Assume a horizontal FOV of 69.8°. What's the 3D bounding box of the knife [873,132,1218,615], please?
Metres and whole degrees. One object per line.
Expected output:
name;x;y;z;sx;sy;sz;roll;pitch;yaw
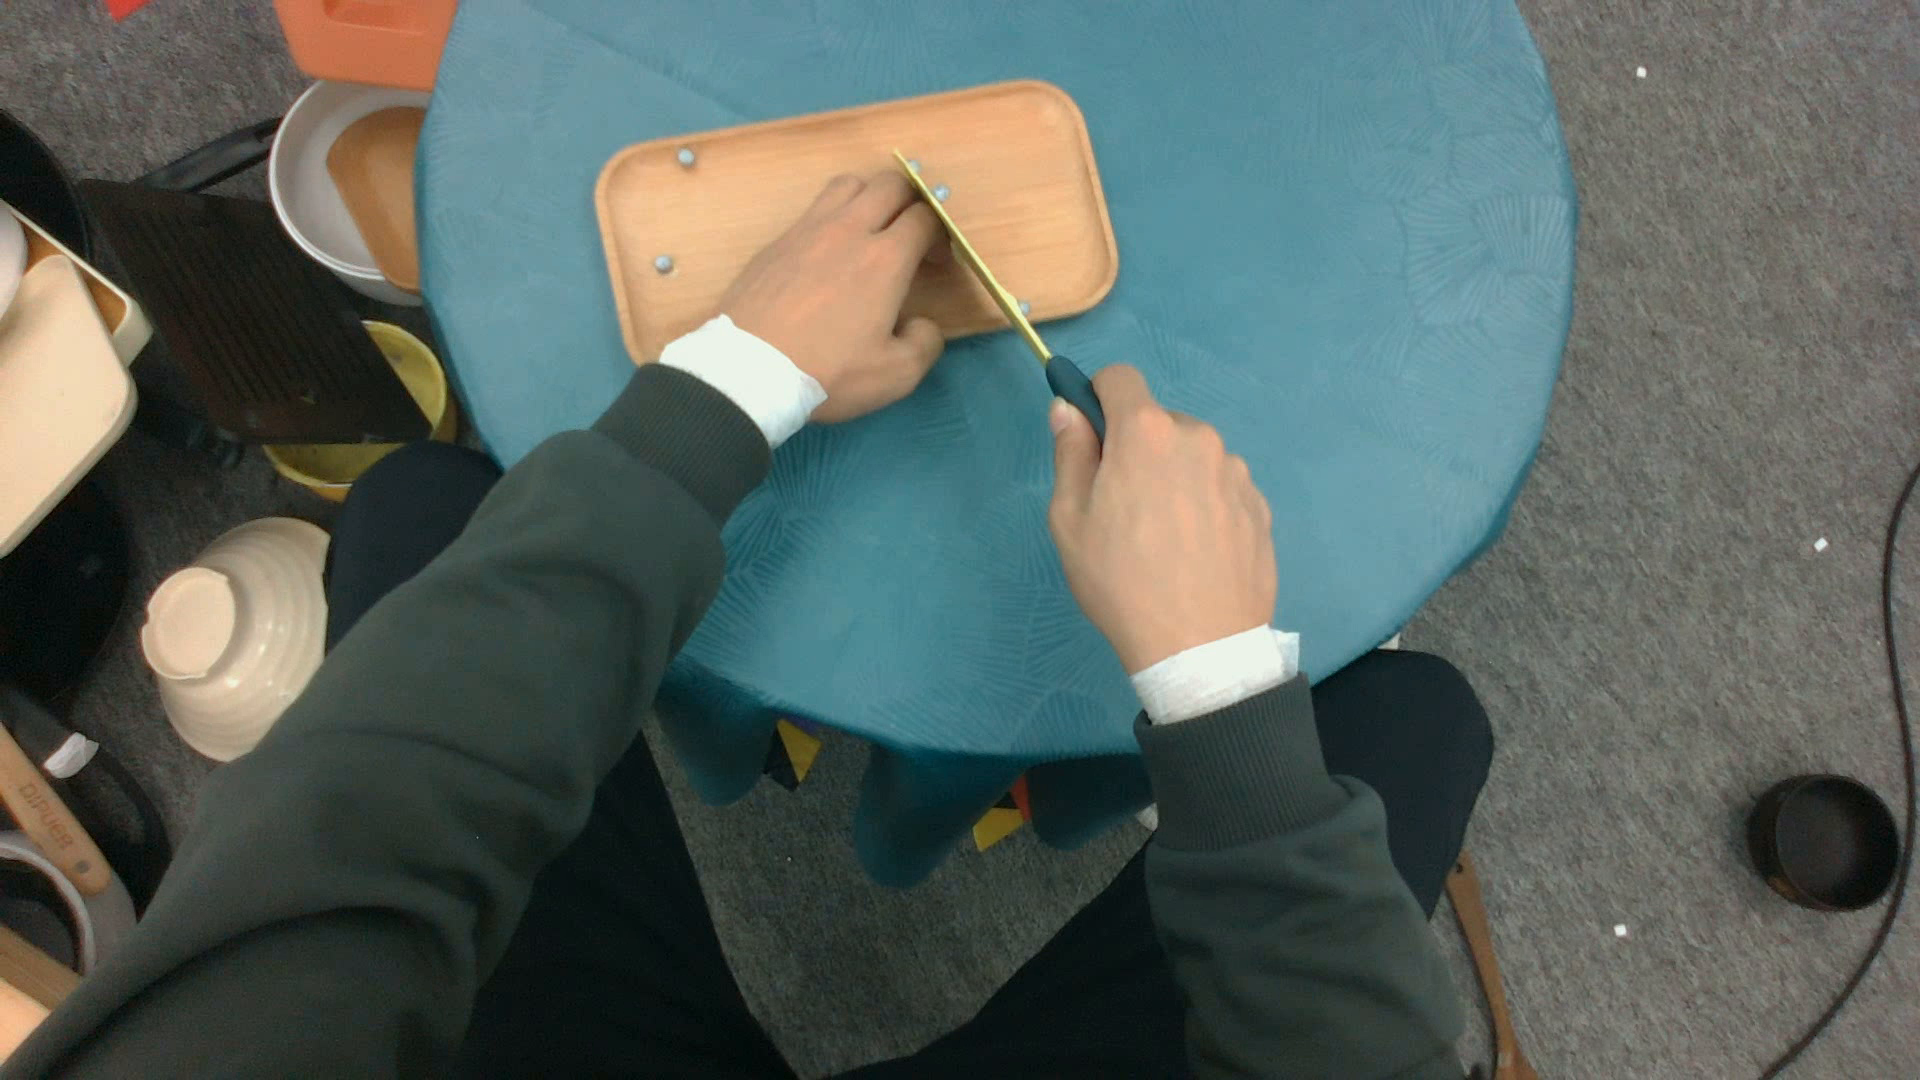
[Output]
knife;0.031;-0.085;0.634;0.027;0.081;0.290;-35;71;6

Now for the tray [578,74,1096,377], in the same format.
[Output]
tray;-0.060;-0.161;0.699;0.251;0.023;0.130;-12;83;-12
